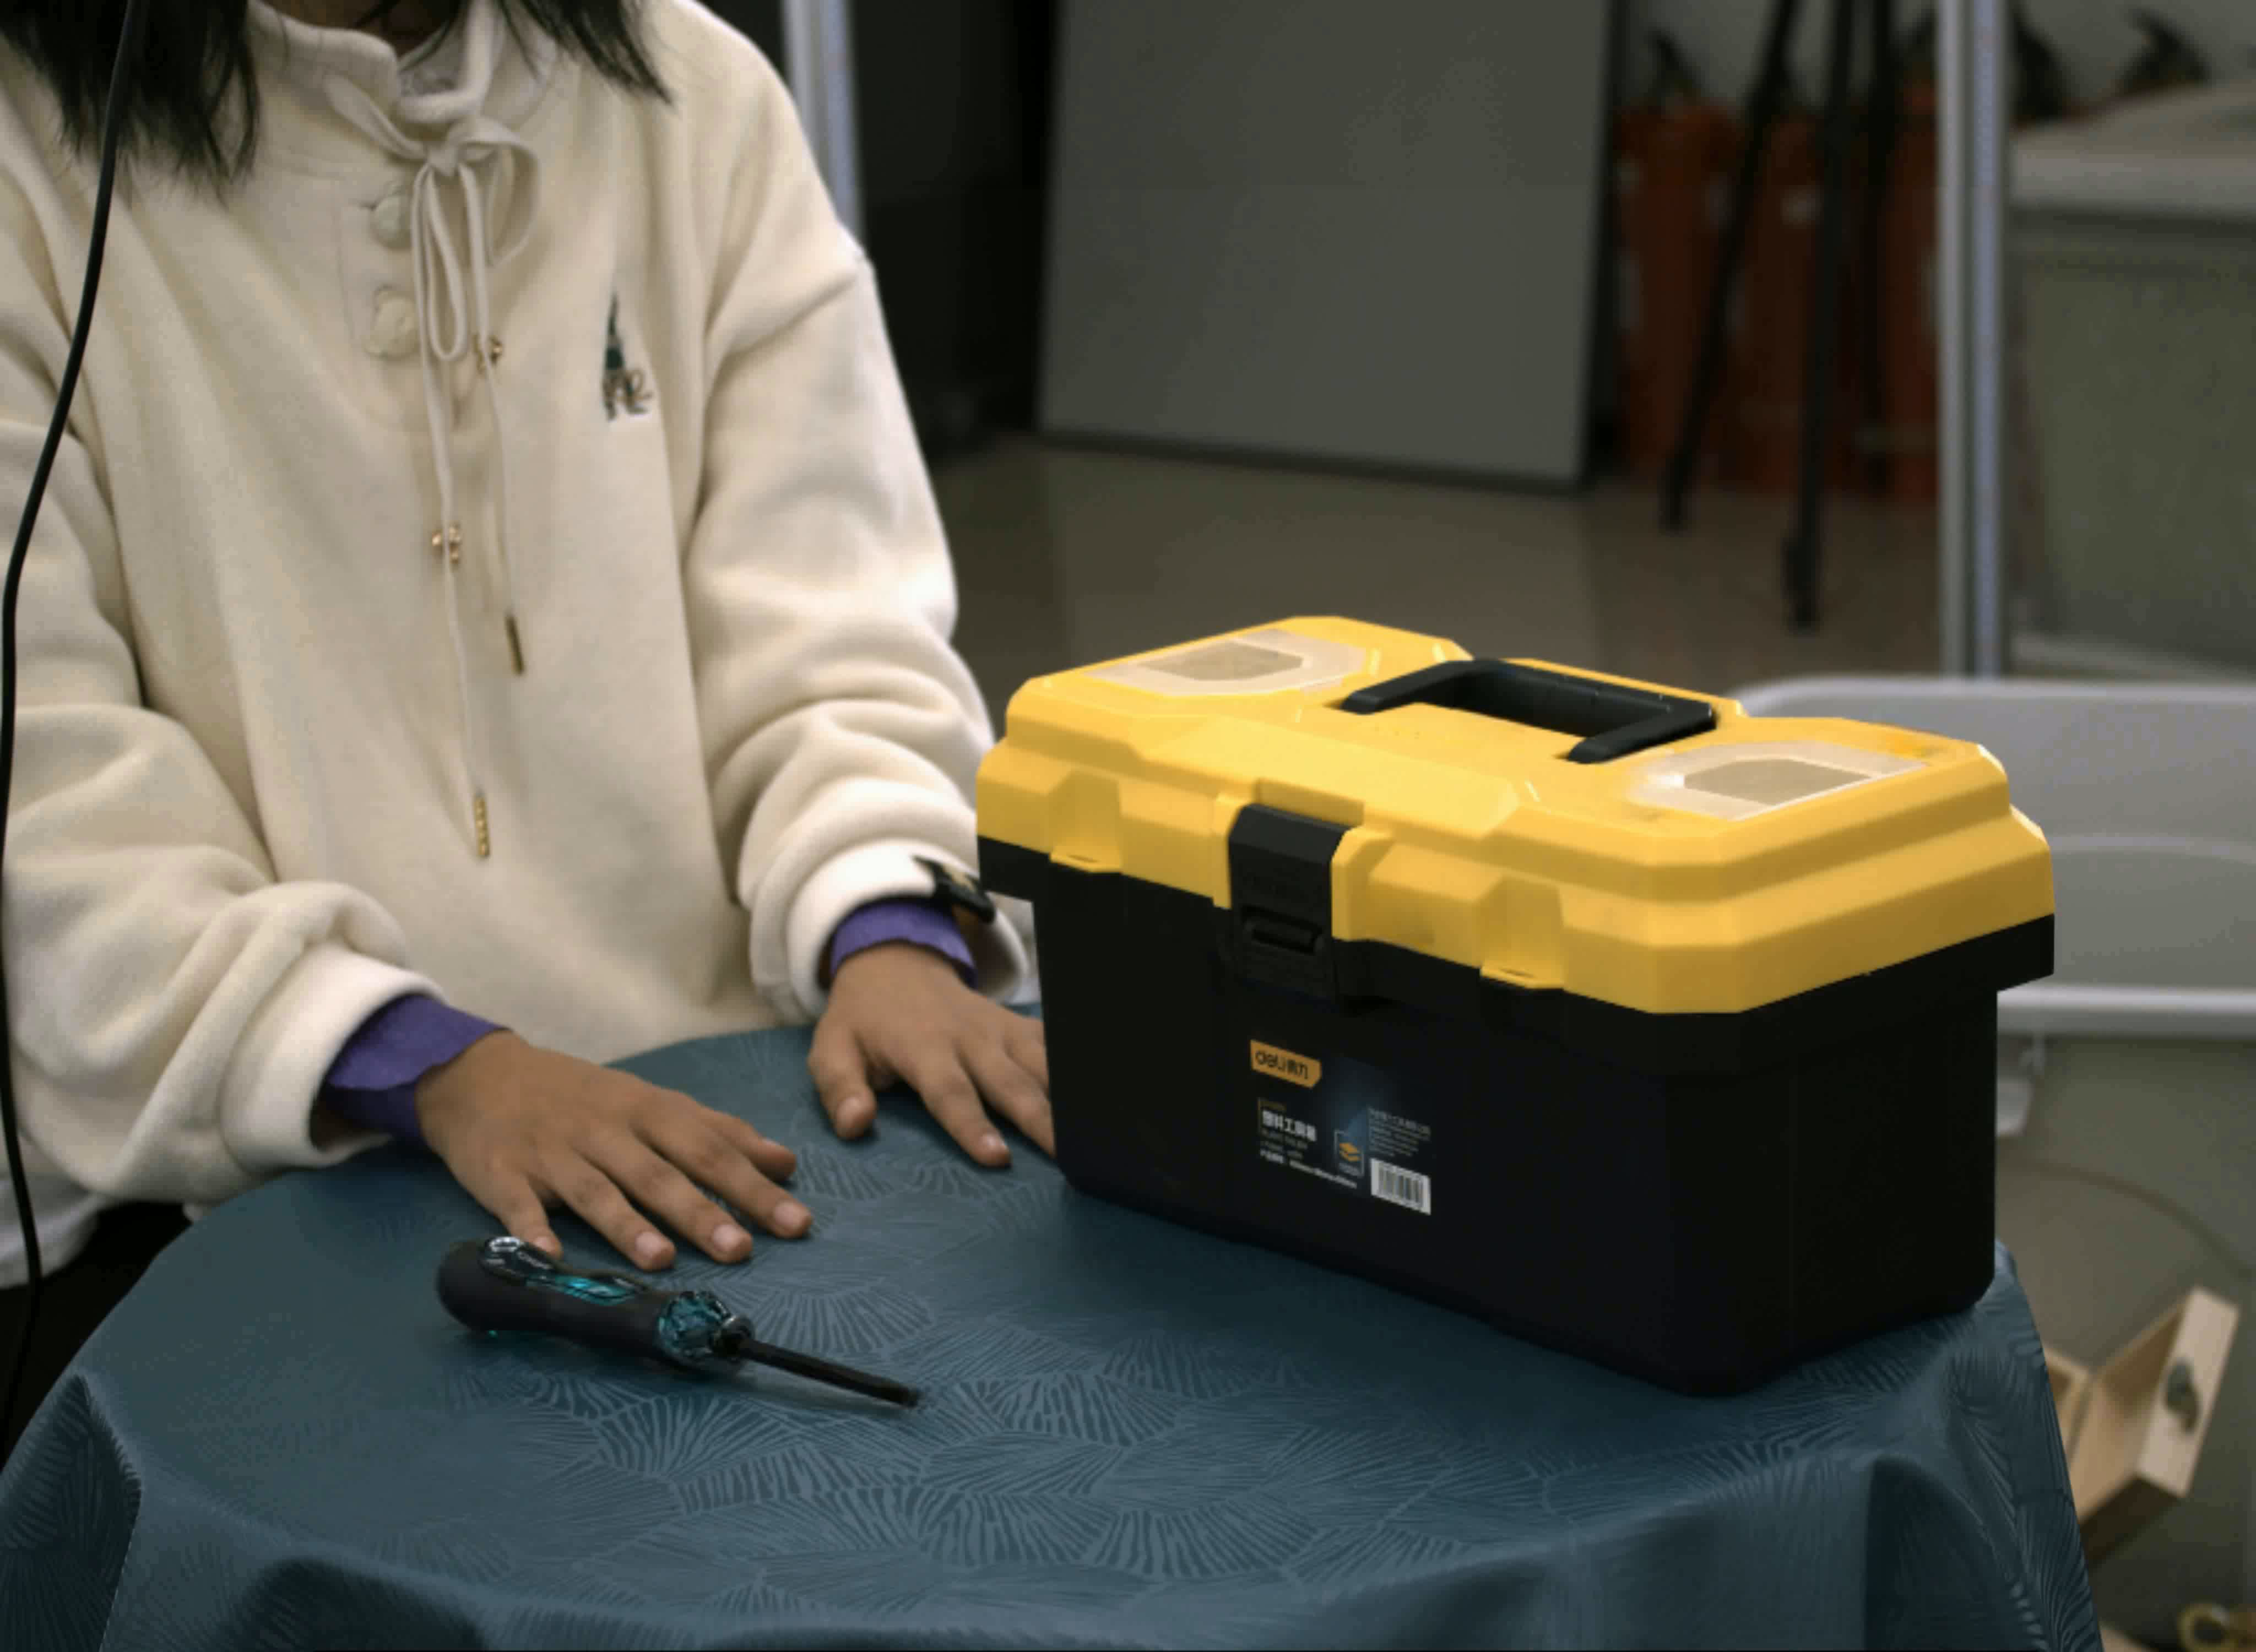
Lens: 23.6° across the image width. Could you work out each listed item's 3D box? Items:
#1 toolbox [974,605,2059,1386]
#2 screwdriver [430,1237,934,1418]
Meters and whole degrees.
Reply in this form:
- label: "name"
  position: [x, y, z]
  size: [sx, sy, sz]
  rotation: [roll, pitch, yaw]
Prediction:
- label: "toolbox"
  position: [0.114, 0.045, 1.677]
  size: [0.177, 0.175, 0.355]
  rotation: [-14, 17, -35]
- label: "screwdriver"
  position: [-0.134, 0.155, 1.625]
  size: [0.191, 0.034, 0.033]
  rotation: [11, 19, 34]
